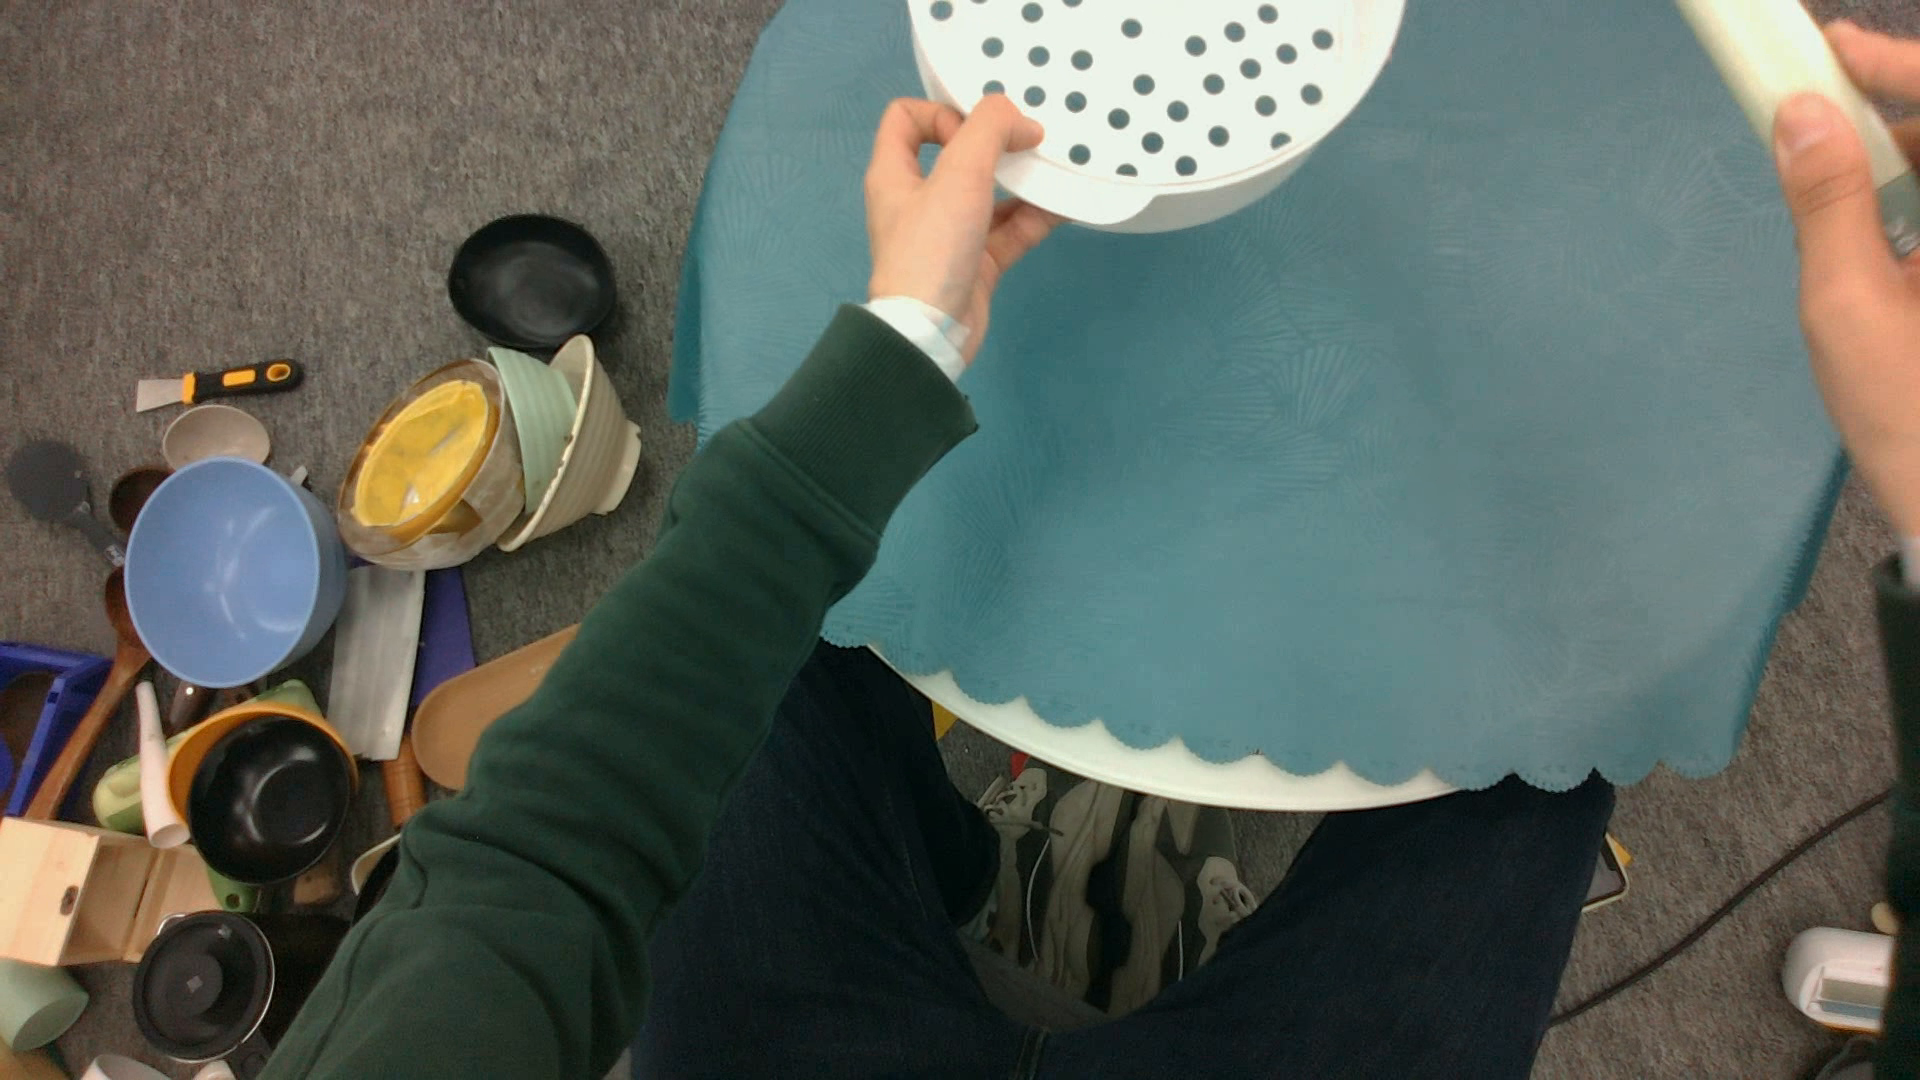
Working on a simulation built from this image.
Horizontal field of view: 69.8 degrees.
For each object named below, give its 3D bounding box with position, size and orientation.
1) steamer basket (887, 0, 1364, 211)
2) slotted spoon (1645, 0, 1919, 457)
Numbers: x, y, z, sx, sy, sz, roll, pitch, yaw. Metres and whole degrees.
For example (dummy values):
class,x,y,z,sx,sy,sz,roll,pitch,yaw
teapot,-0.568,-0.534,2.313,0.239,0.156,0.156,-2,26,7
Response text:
class,x,y,z,sx,sy,sz,roll,pitch,yaw
steamer basket,0.066,-0.240,0.586,0.202,0.069,0.231,19,81,2
slotted spoon,0.197,-0.183,0.402,0.169,0.075,0.359,-30,76,16
